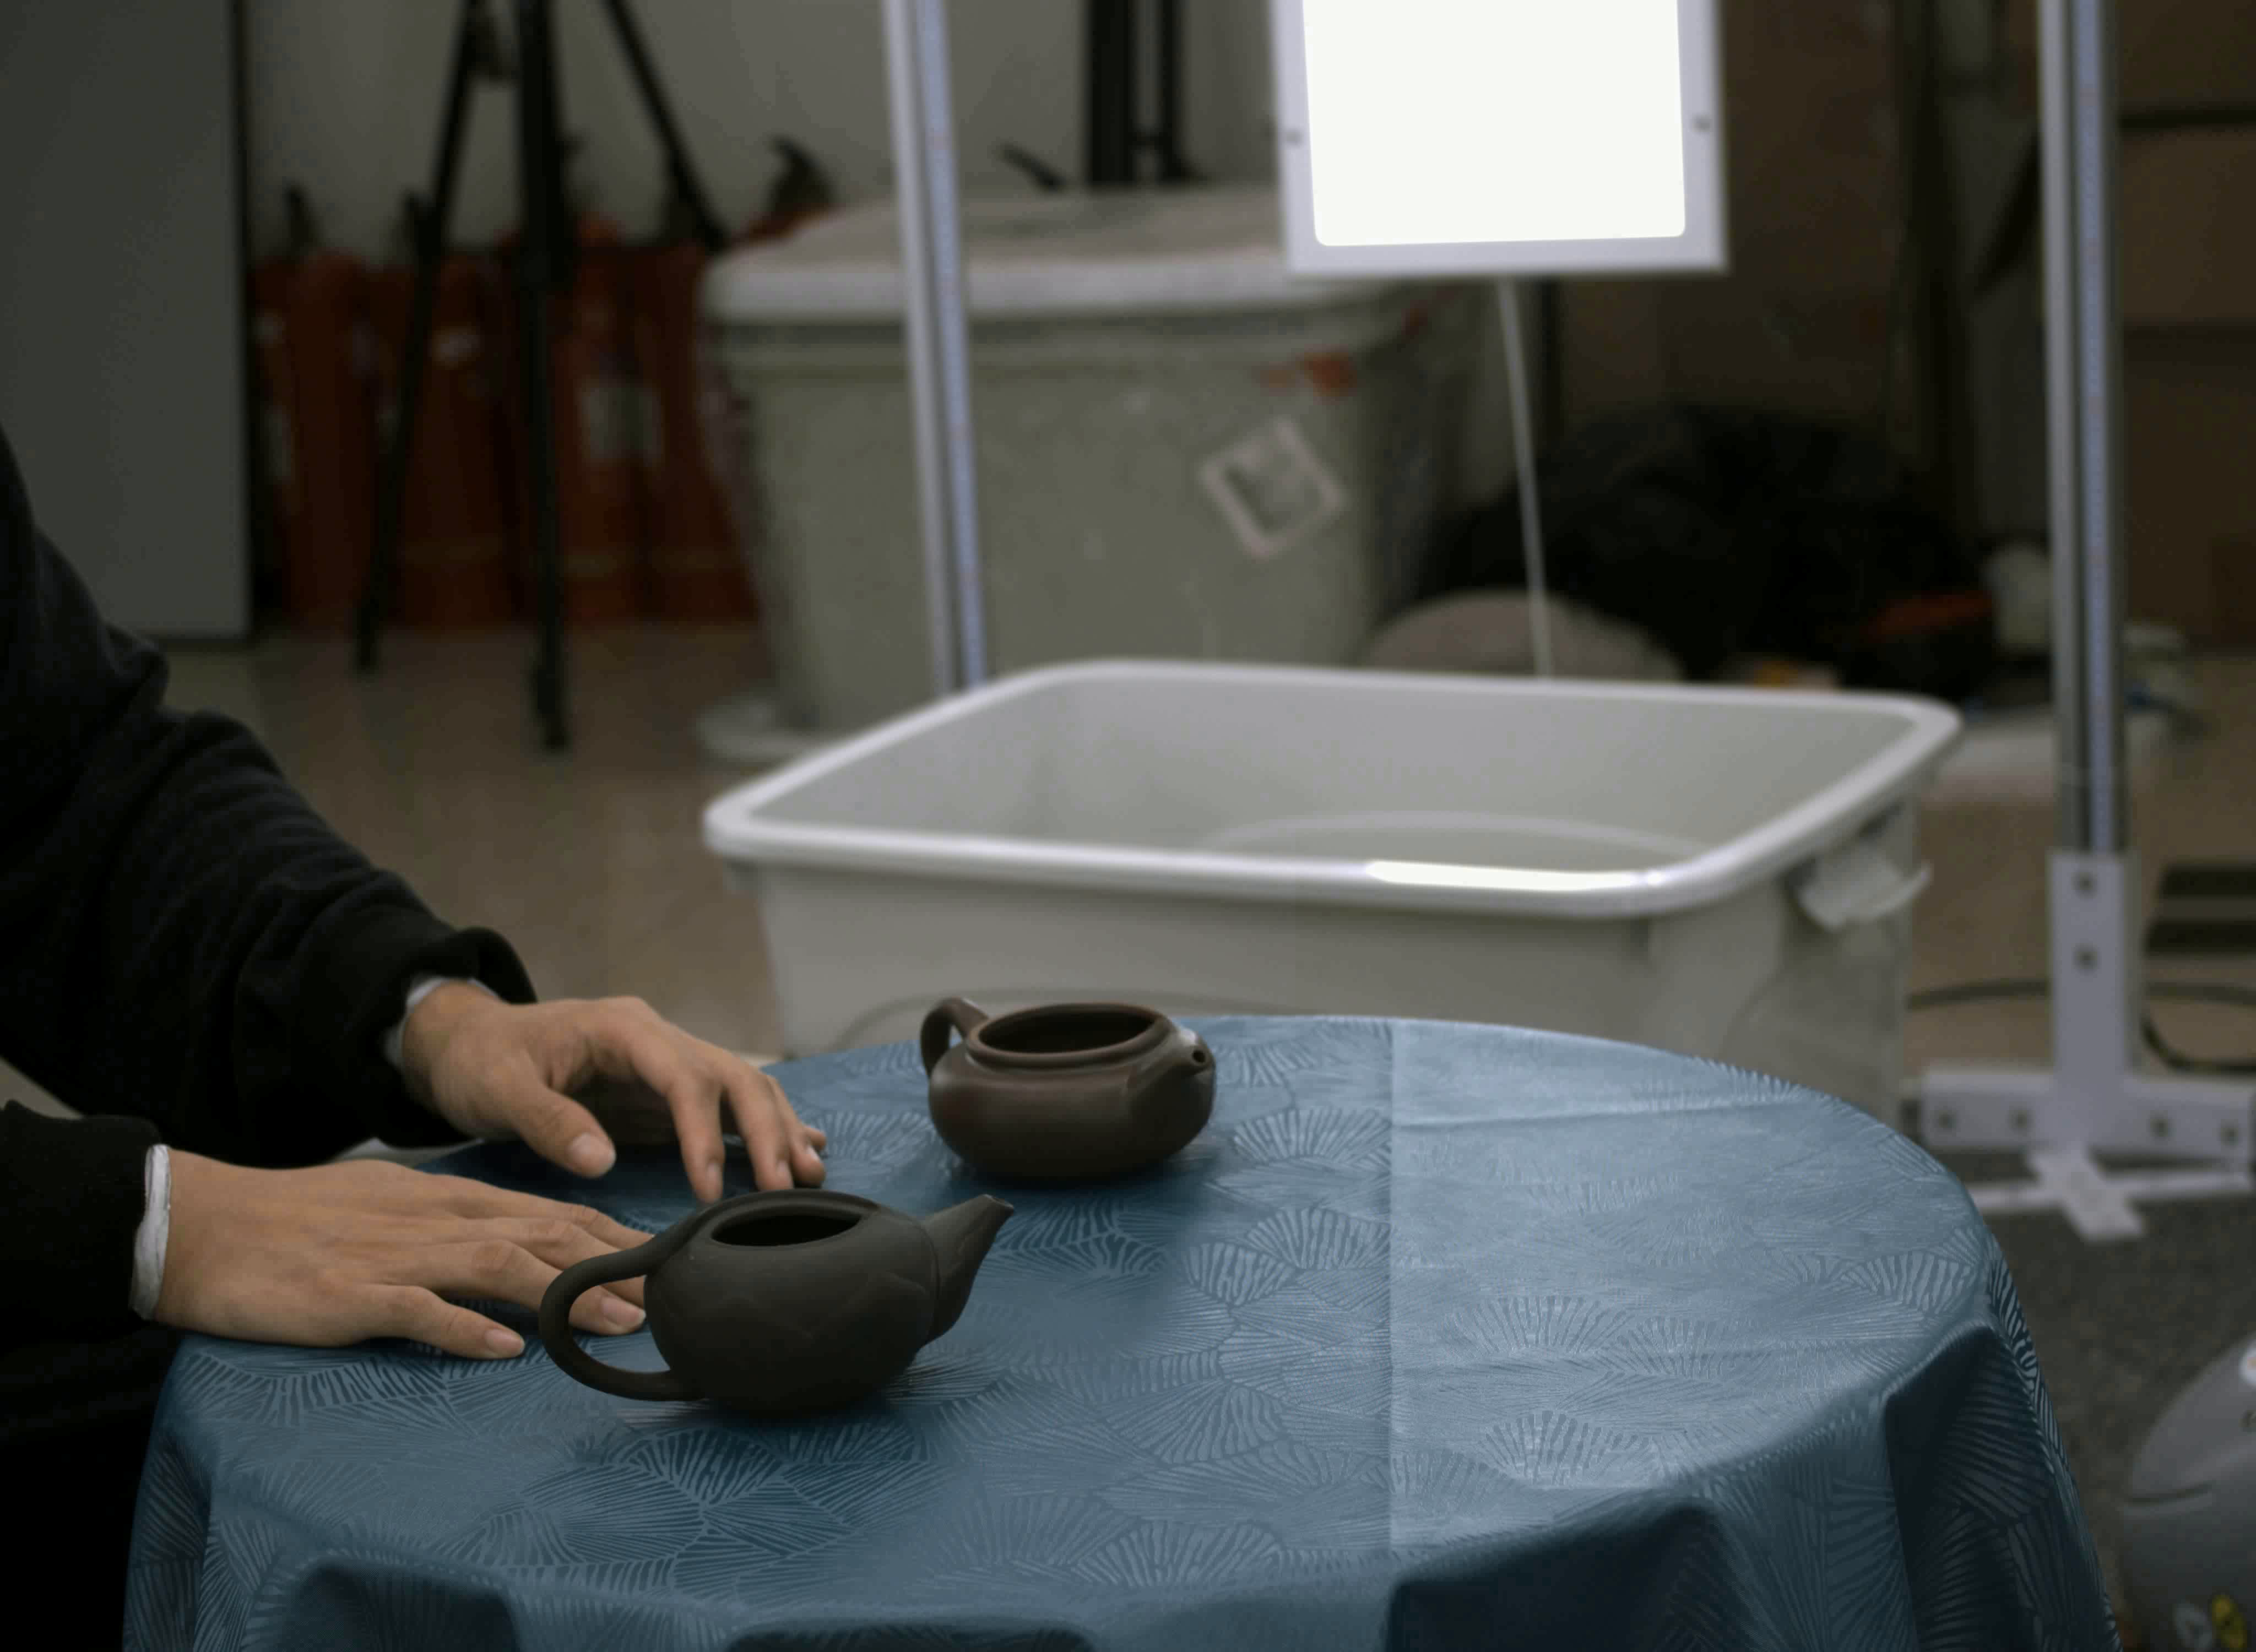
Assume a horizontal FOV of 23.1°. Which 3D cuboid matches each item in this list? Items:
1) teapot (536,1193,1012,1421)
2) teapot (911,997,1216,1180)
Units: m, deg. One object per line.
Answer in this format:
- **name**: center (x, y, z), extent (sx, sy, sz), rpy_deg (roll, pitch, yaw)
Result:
- **teapot**: center (-0.108, 0.148, 1.719), extent (0.152, 0.064, 0.093), rpy_deg (-8, 12, -13)
- **teapot**: center (-0.023, 0.091, 1.939), extent (0.100, 0.054, 0.157), rpy_deg (-15, 17, -43)
